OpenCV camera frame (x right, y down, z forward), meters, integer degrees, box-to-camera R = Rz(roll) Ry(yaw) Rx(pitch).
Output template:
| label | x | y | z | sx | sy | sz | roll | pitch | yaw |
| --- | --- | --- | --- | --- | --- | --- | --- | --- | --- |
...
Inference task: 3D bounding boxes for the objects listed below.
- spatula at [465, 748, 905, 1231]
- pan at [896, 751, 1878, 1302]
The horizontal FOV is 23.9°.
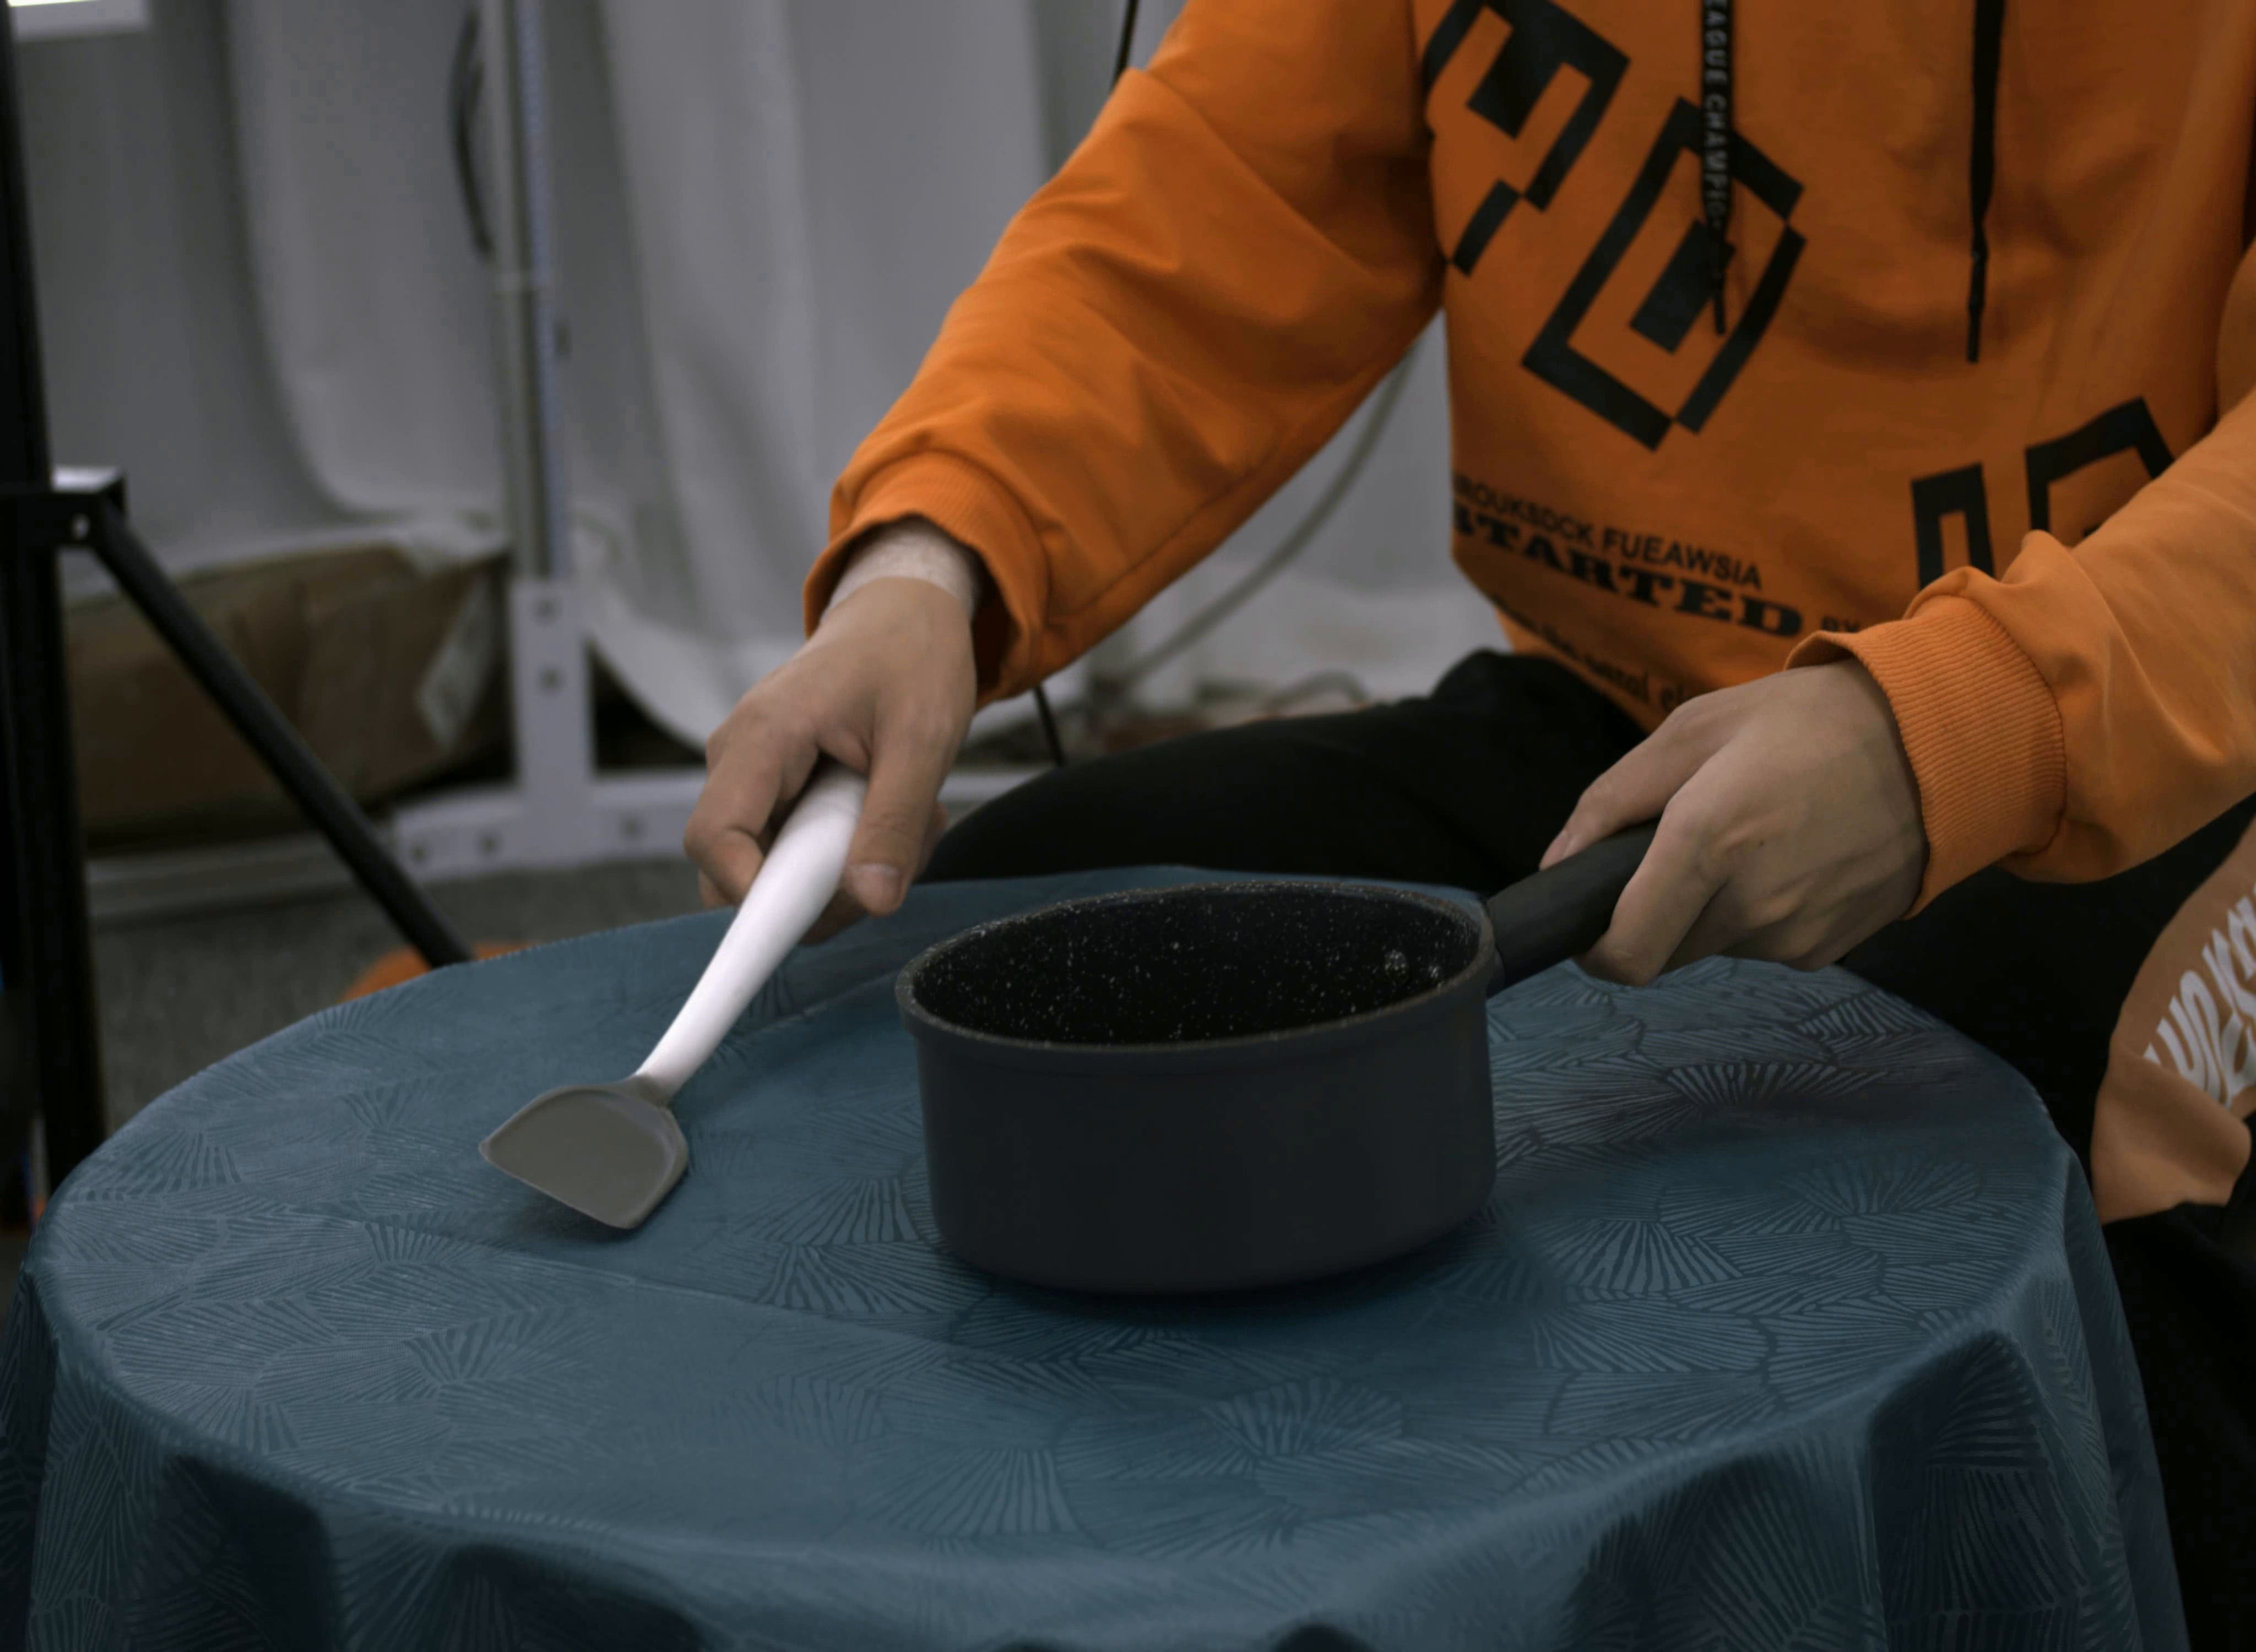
| label | x | y | z | sx | sy | sz | roll | pitch | yaw |
| --- | --- | --- | --- | --- | --- | --- | --- | --- | --- |
| spatula | -0.130 | 0.052 | 1.660 | 0.059 | 0.032 | 0.286 | 28 | 32 | 3 |
| pan | 0.087 | 0.055 | 1.550 | 0.322 | 0.086 | 0.176 | -15 | 18 | -29 |
